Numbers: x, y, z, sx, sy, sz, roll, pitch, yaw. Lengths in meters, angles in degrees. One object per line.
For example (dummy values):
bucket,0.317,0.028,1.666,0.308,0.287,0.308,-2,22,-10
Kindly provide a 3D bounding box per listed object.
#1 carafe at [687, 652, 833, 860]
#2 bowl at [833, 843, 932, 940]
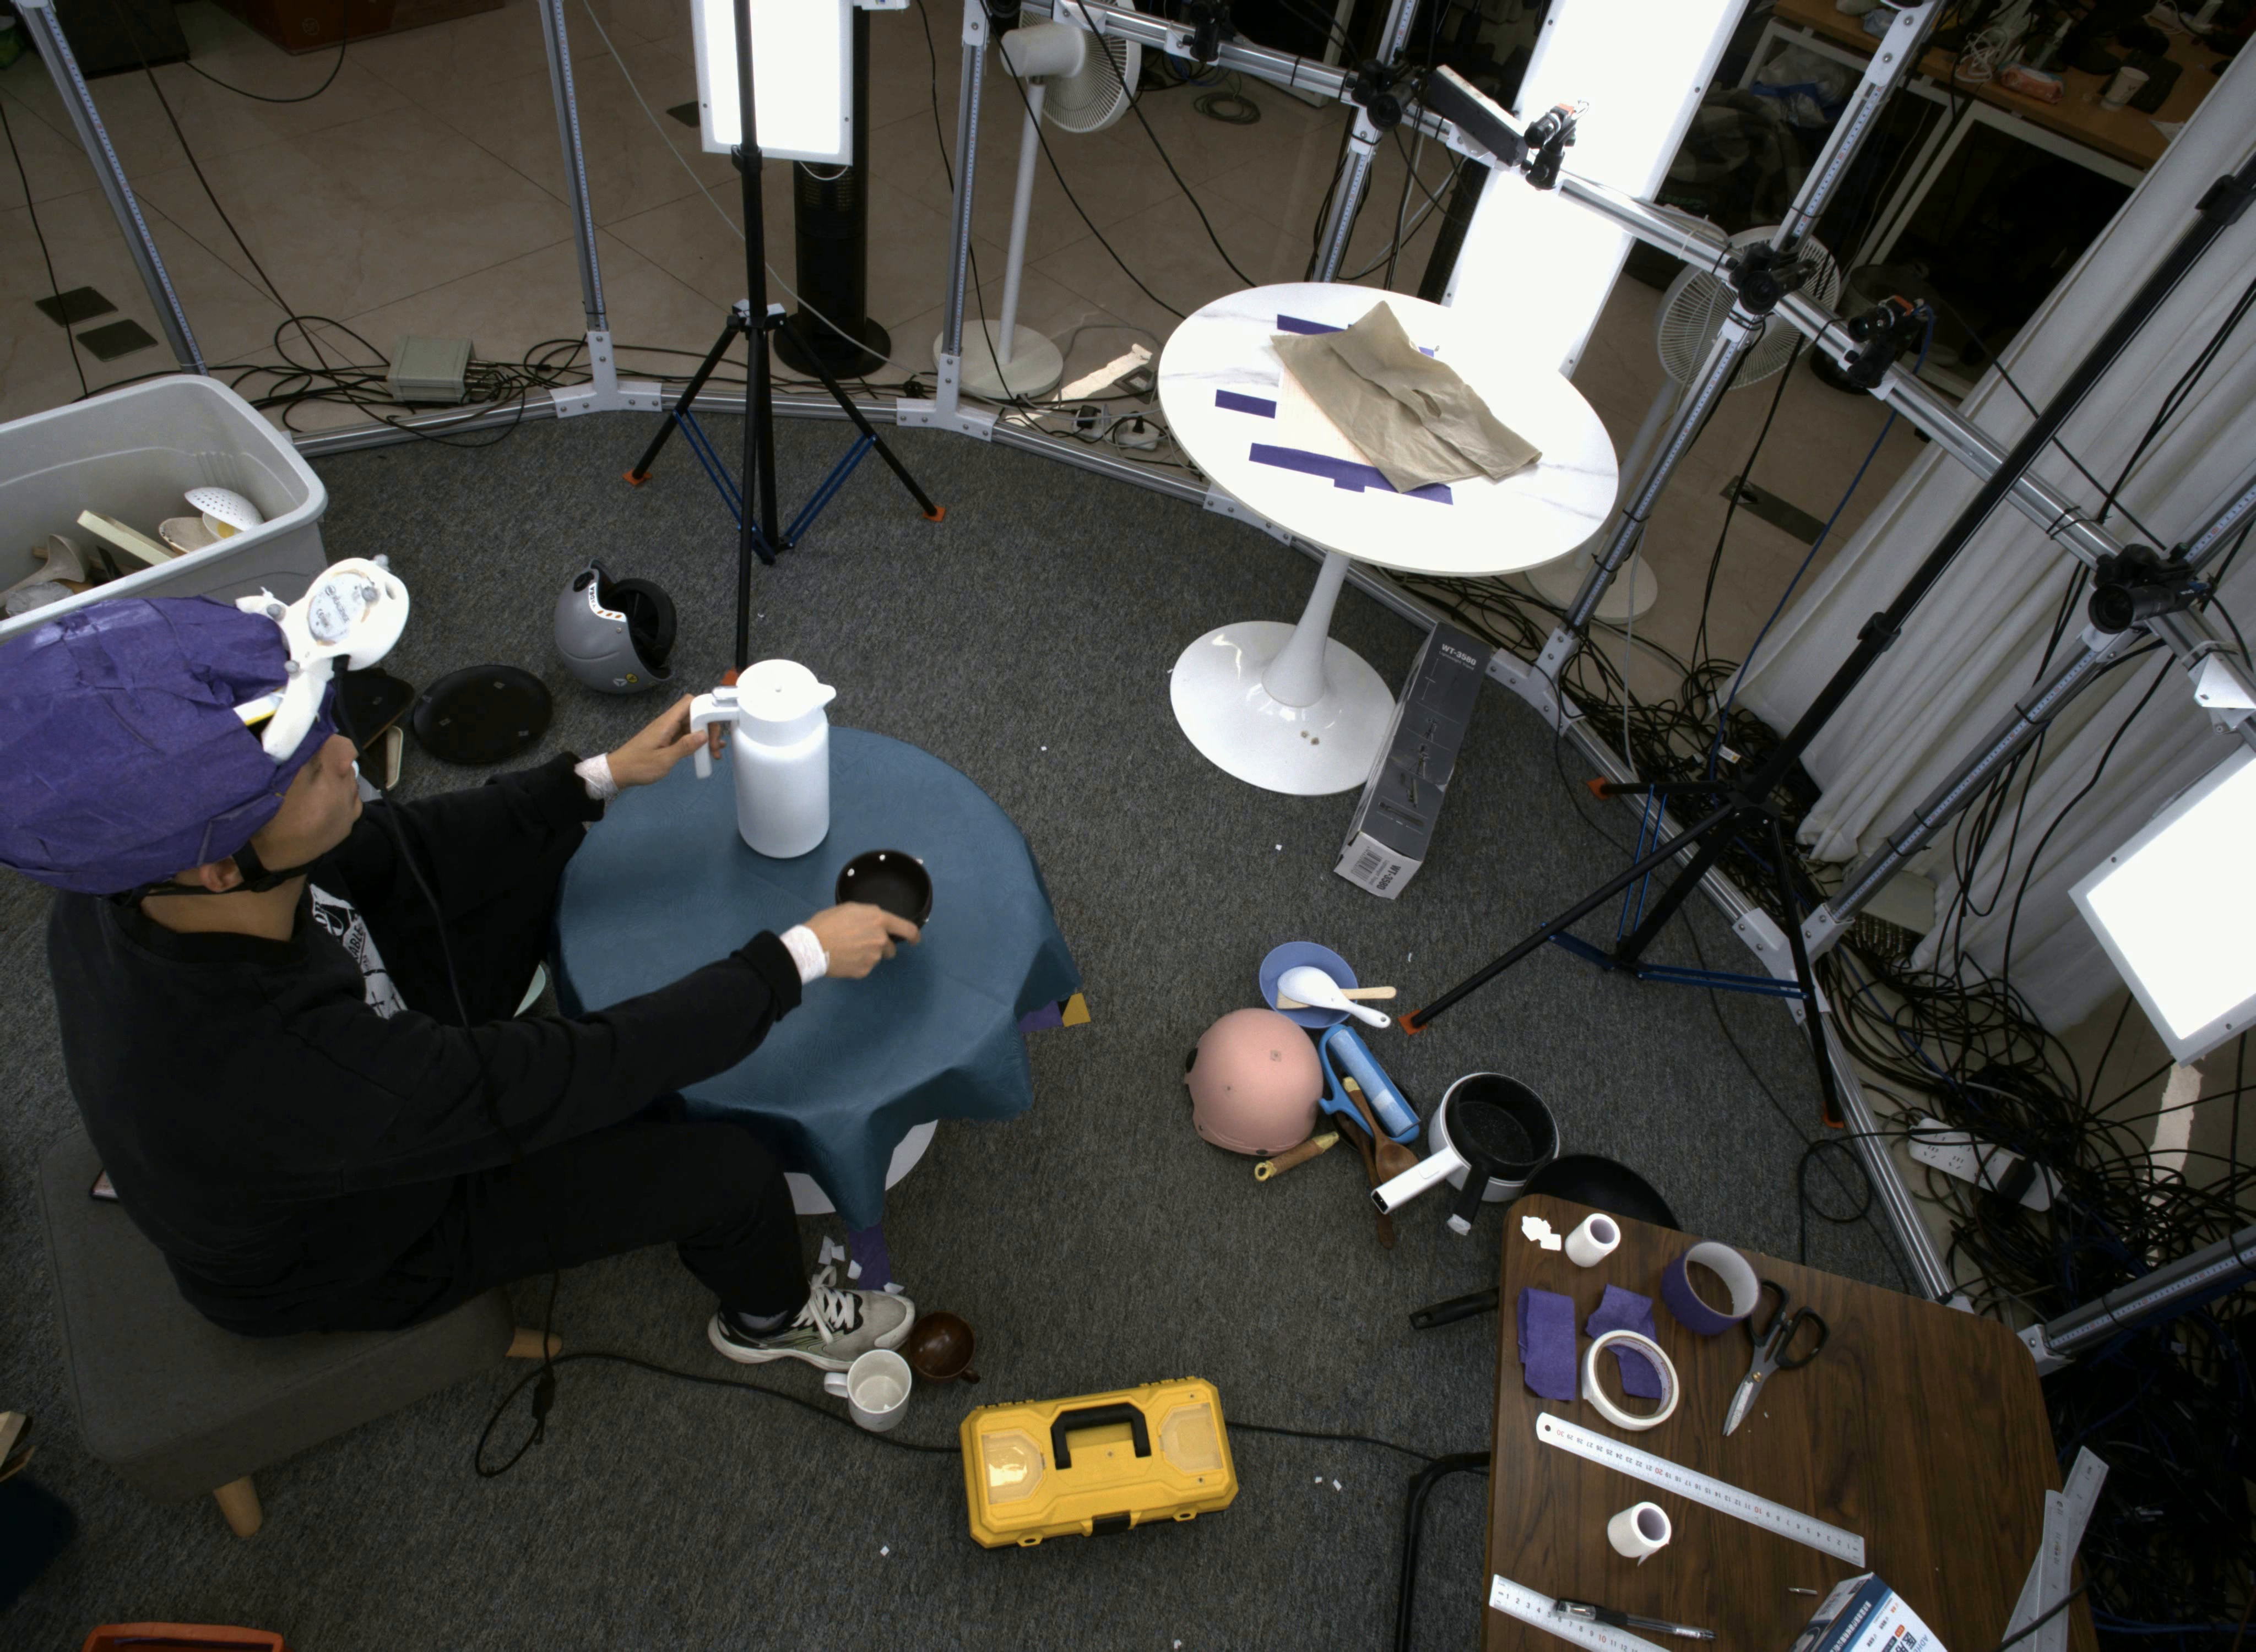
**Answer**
carafe,-0.451,-0.081,1.602,0.173,0.274,0.121,-7,56,-17
bowl,-0.296,0.086,1.572,0.118,0.071,0.116,7,52,-8
